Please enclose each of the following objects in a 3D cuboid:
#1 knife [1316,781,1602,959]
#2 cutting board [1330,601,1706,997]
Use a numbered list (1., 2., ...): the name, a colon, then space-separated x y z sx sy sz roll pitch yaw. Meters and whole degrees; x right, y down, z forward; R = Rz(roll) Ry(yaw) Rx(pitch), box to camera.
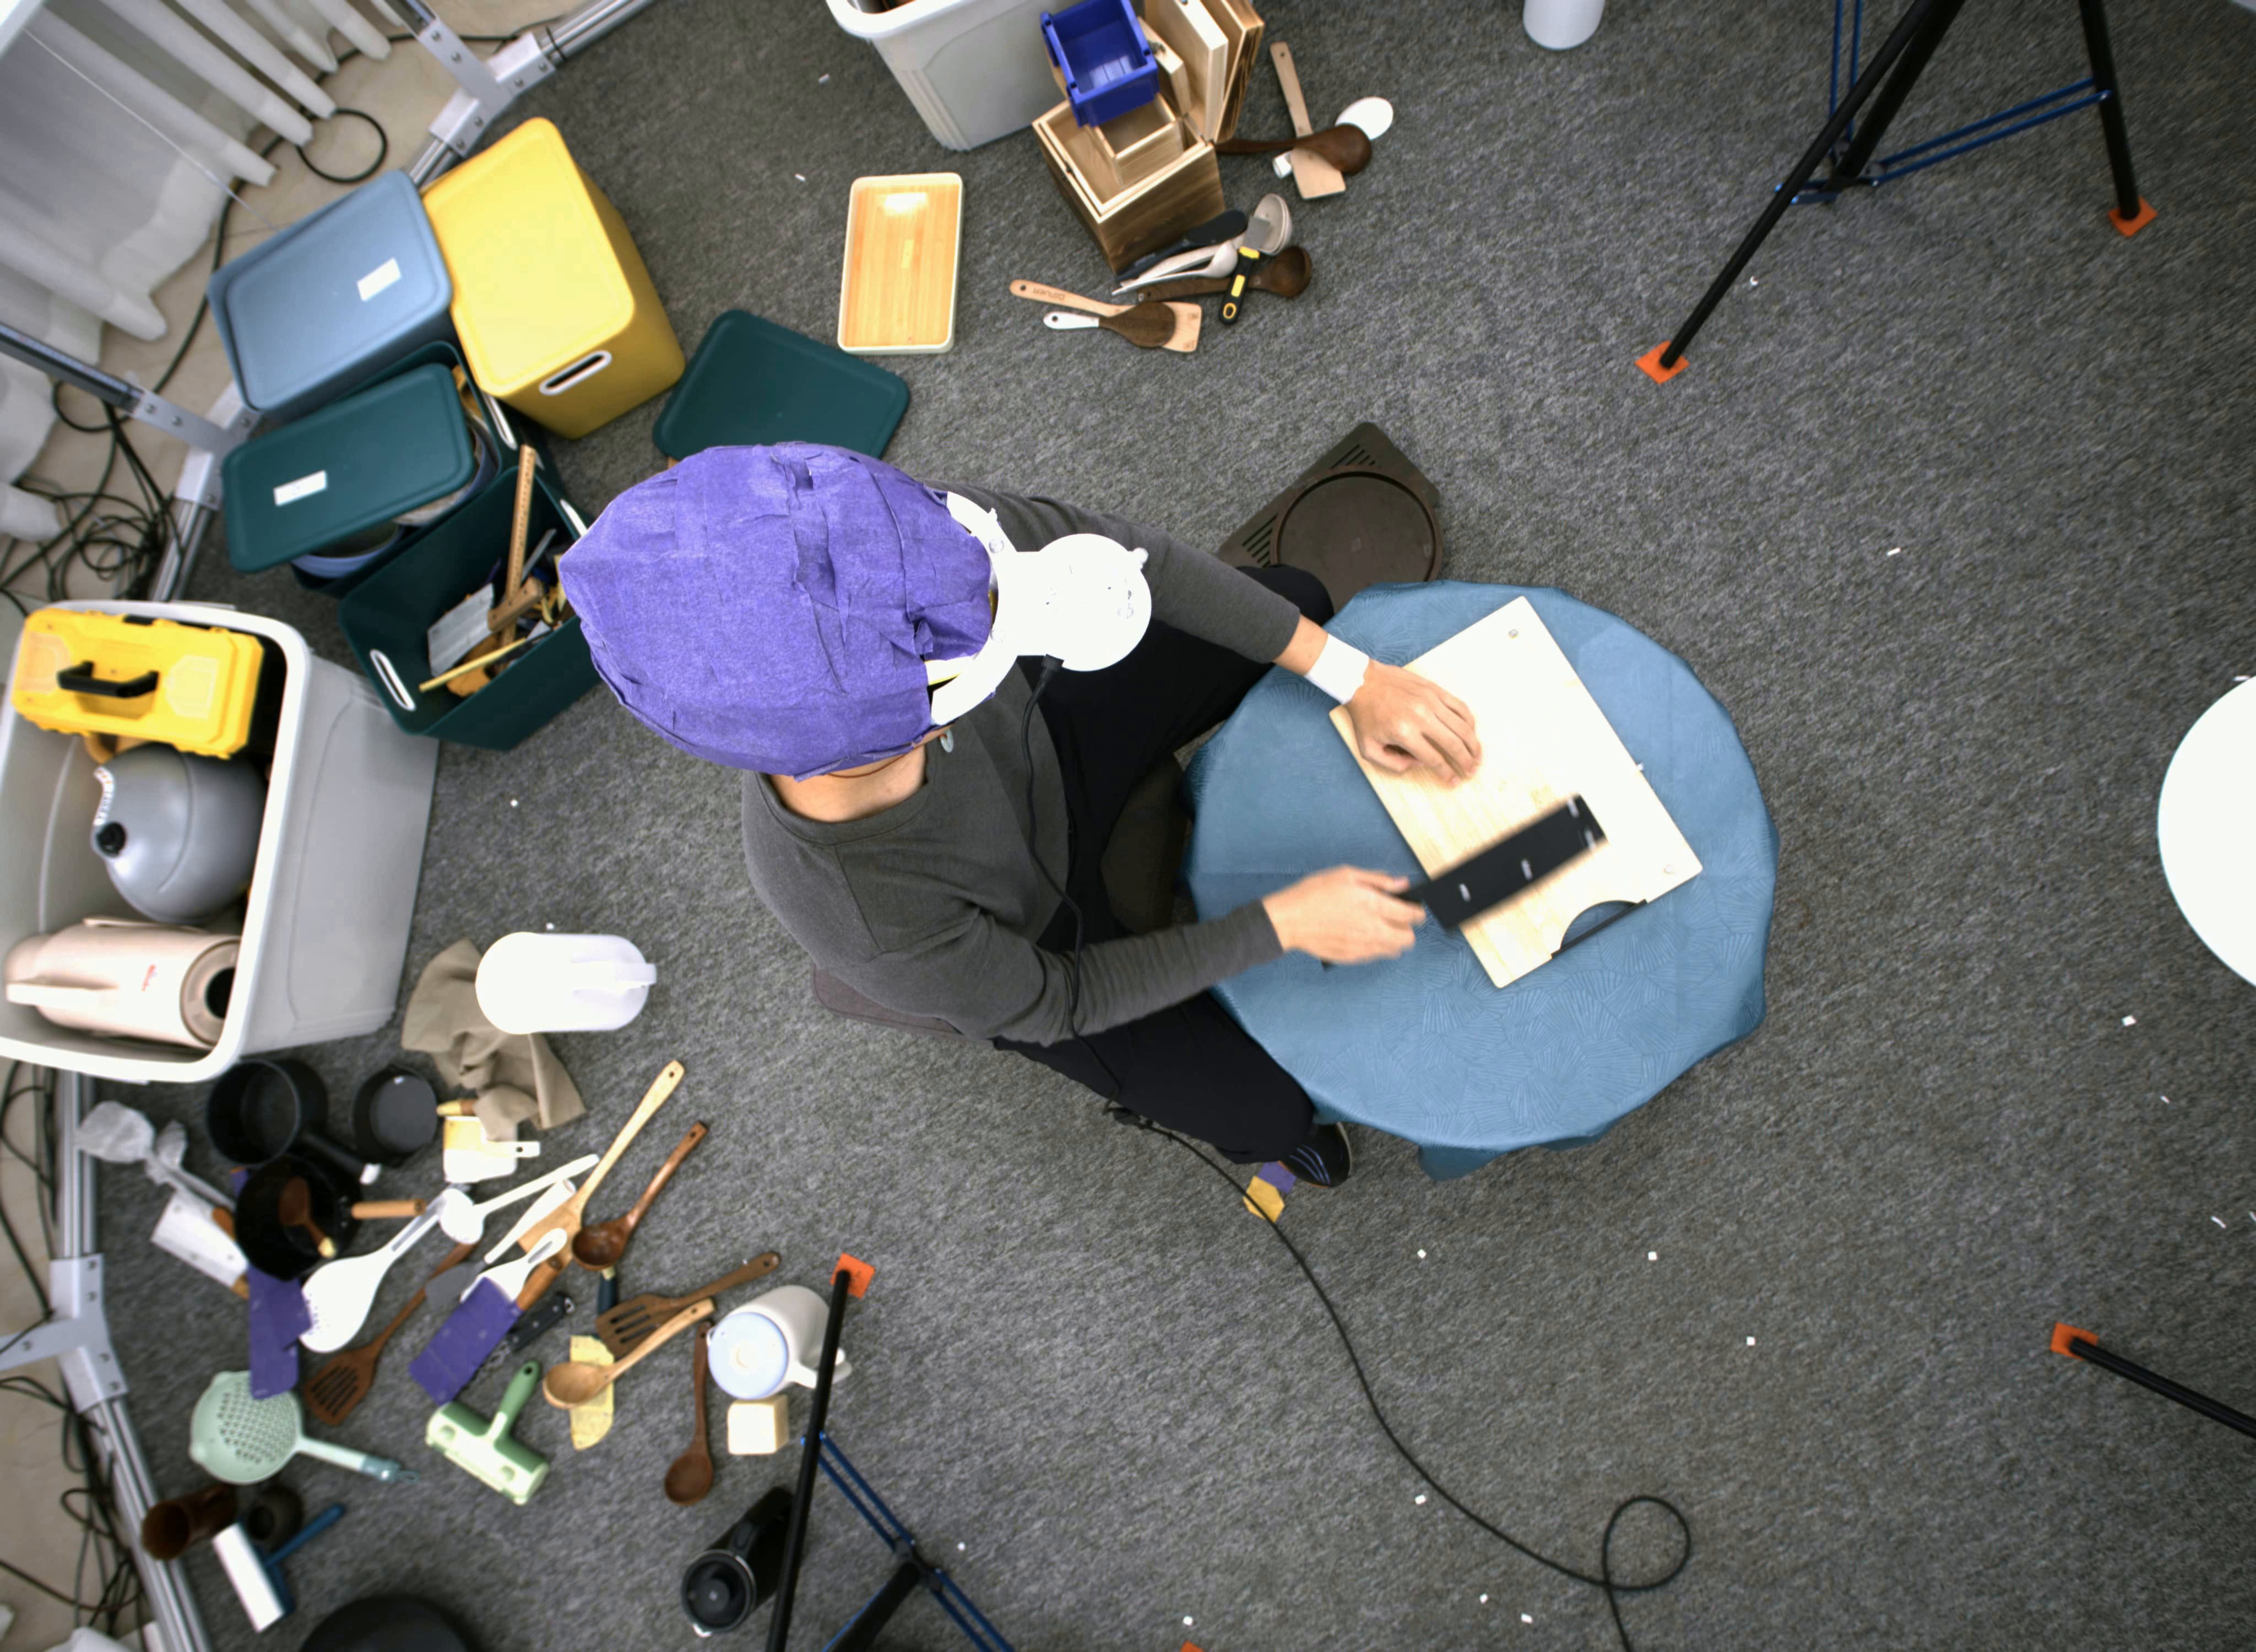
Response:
1. knife: 0.315 0.051 1.342 0.306 0.020 0.082 -29 117 18
2. cutting board: 0.402 -0.035 1.433 0.252 0.023 0.346 -32 81 8
